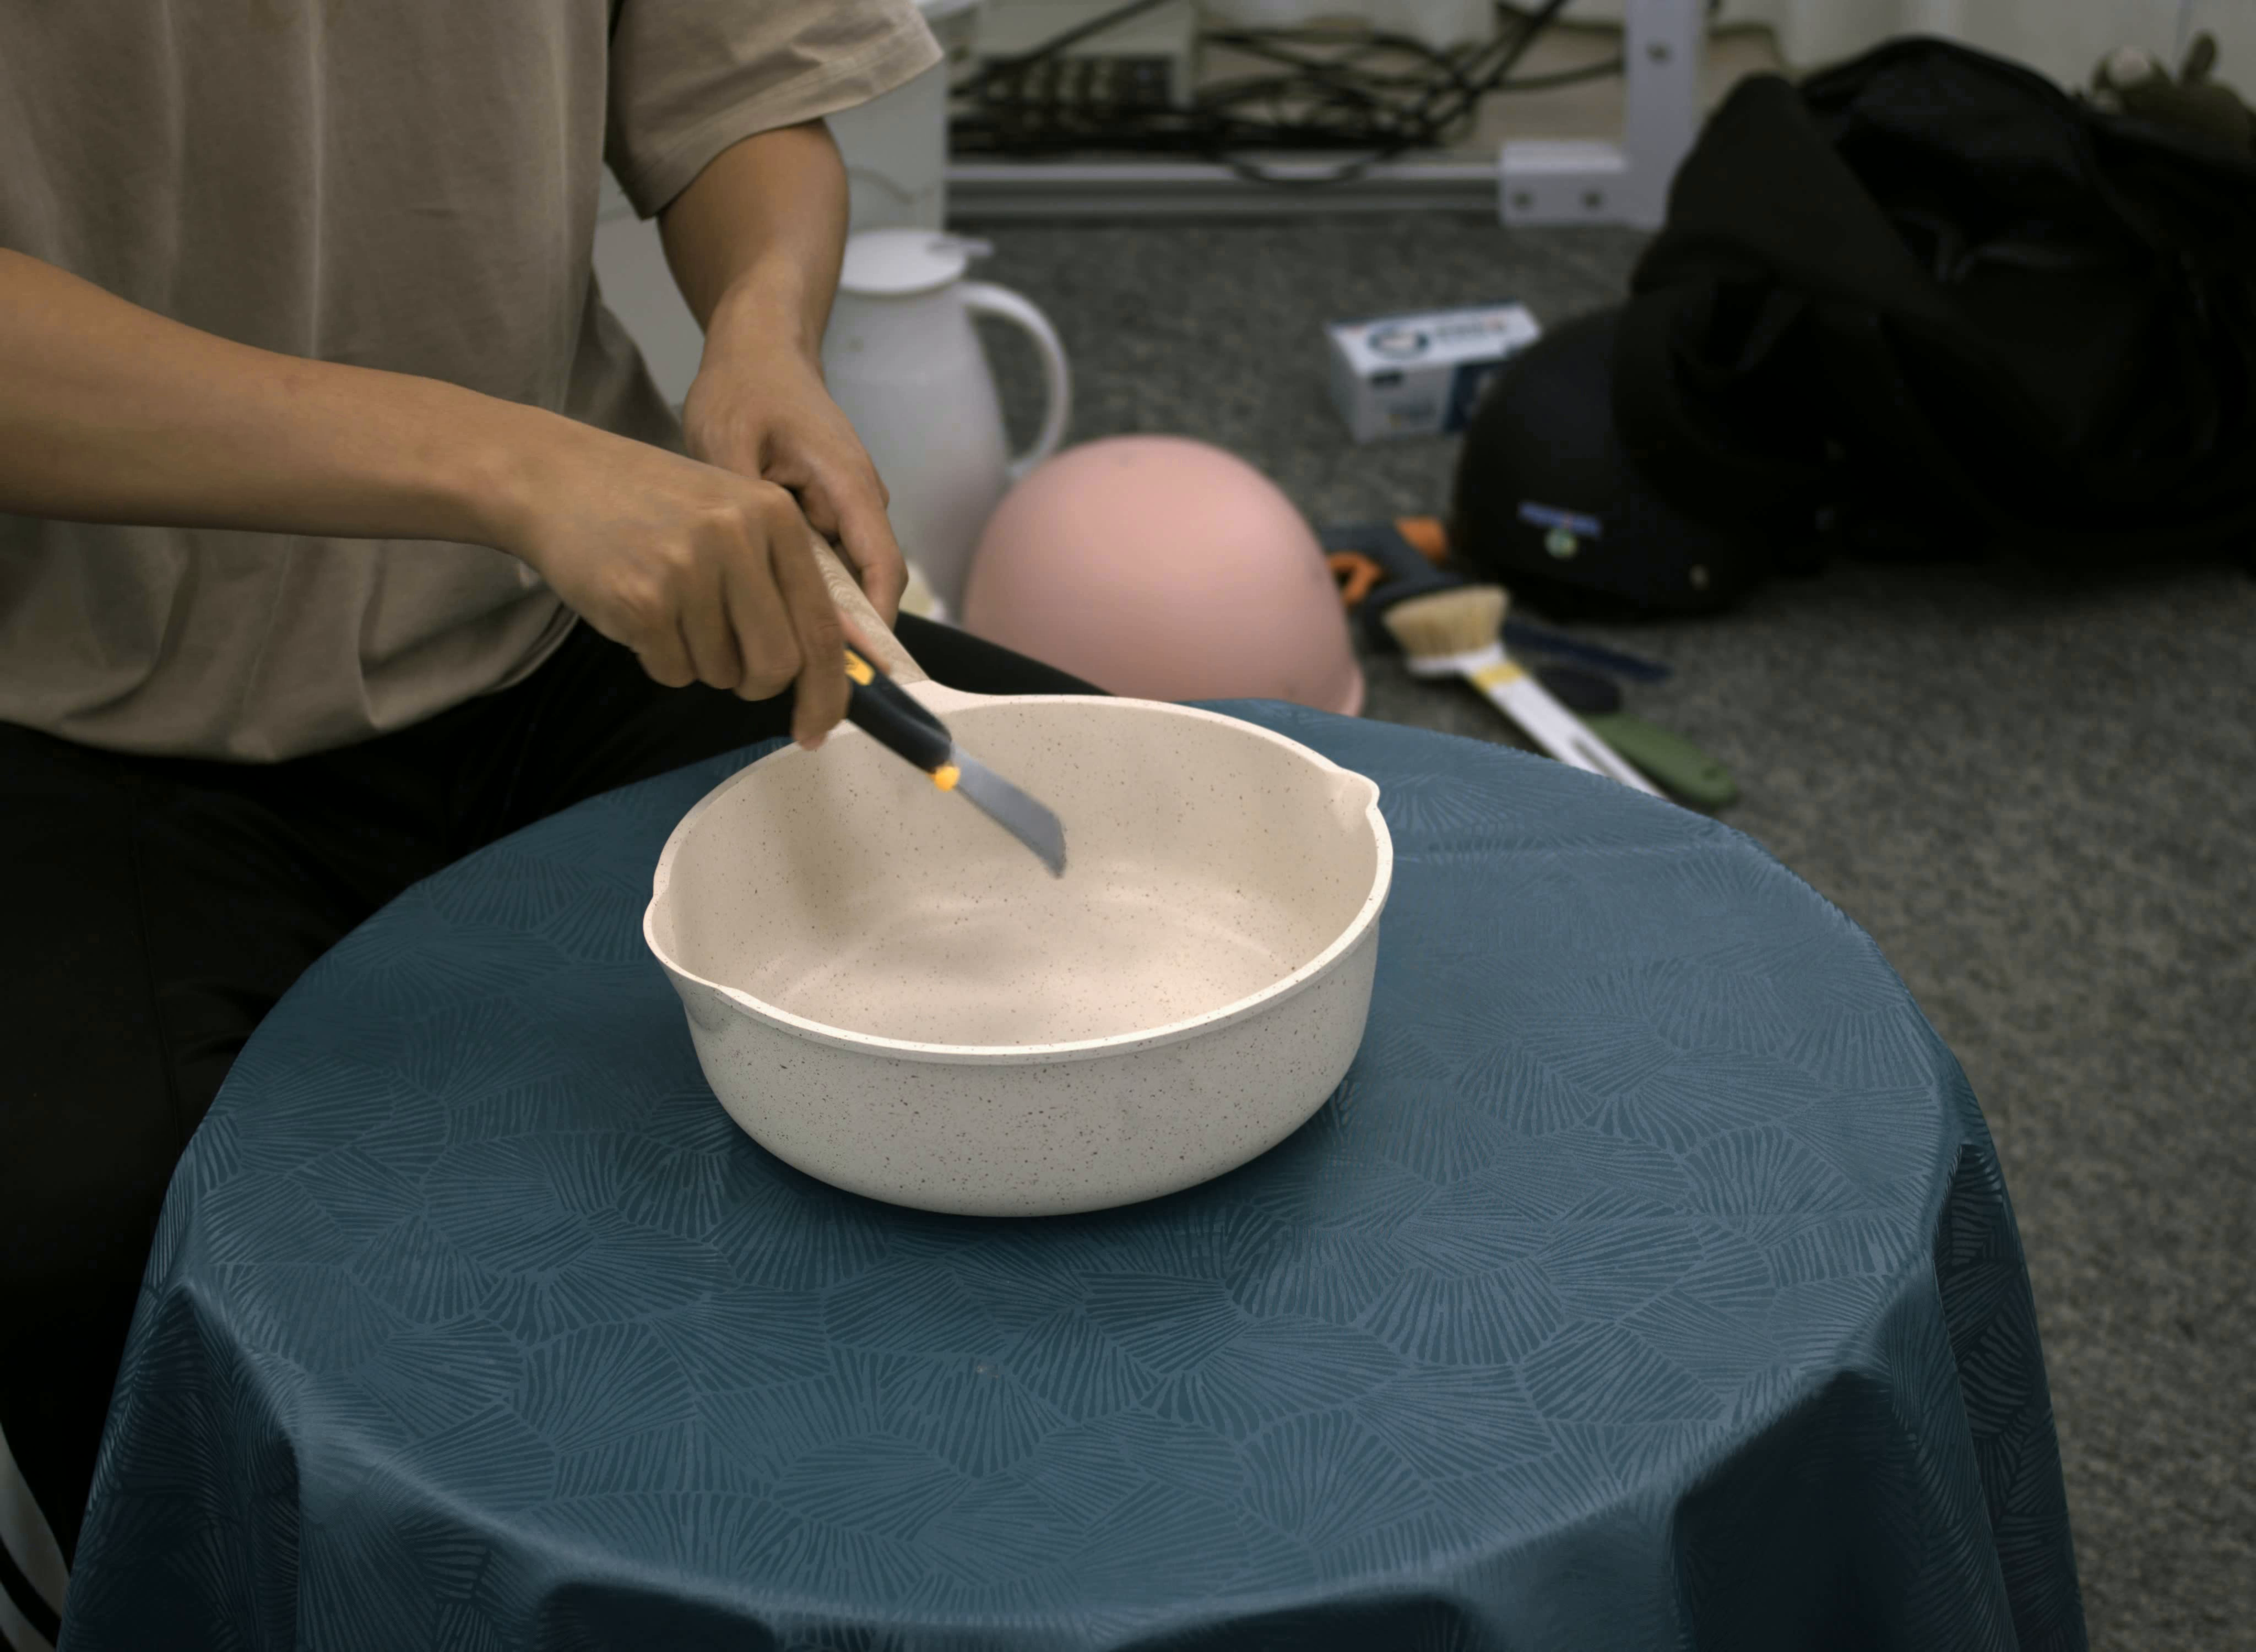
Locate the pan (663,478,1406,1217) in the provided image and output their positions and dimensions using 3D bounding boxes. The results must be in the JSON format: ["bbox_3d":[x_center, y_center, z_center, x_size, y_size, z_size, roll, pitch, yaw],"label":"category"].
[{"bbox_3d":[-0.063,0.002,1.993,0.264,0.101,0.438,-14,30,-18],"label":"pan"}]

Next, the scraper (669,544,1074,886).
[{"bbox_3d":[-0.089,-0.039,1.938,0.170,0.014,0.039,38,39,-13],"label":"scraper"}]
